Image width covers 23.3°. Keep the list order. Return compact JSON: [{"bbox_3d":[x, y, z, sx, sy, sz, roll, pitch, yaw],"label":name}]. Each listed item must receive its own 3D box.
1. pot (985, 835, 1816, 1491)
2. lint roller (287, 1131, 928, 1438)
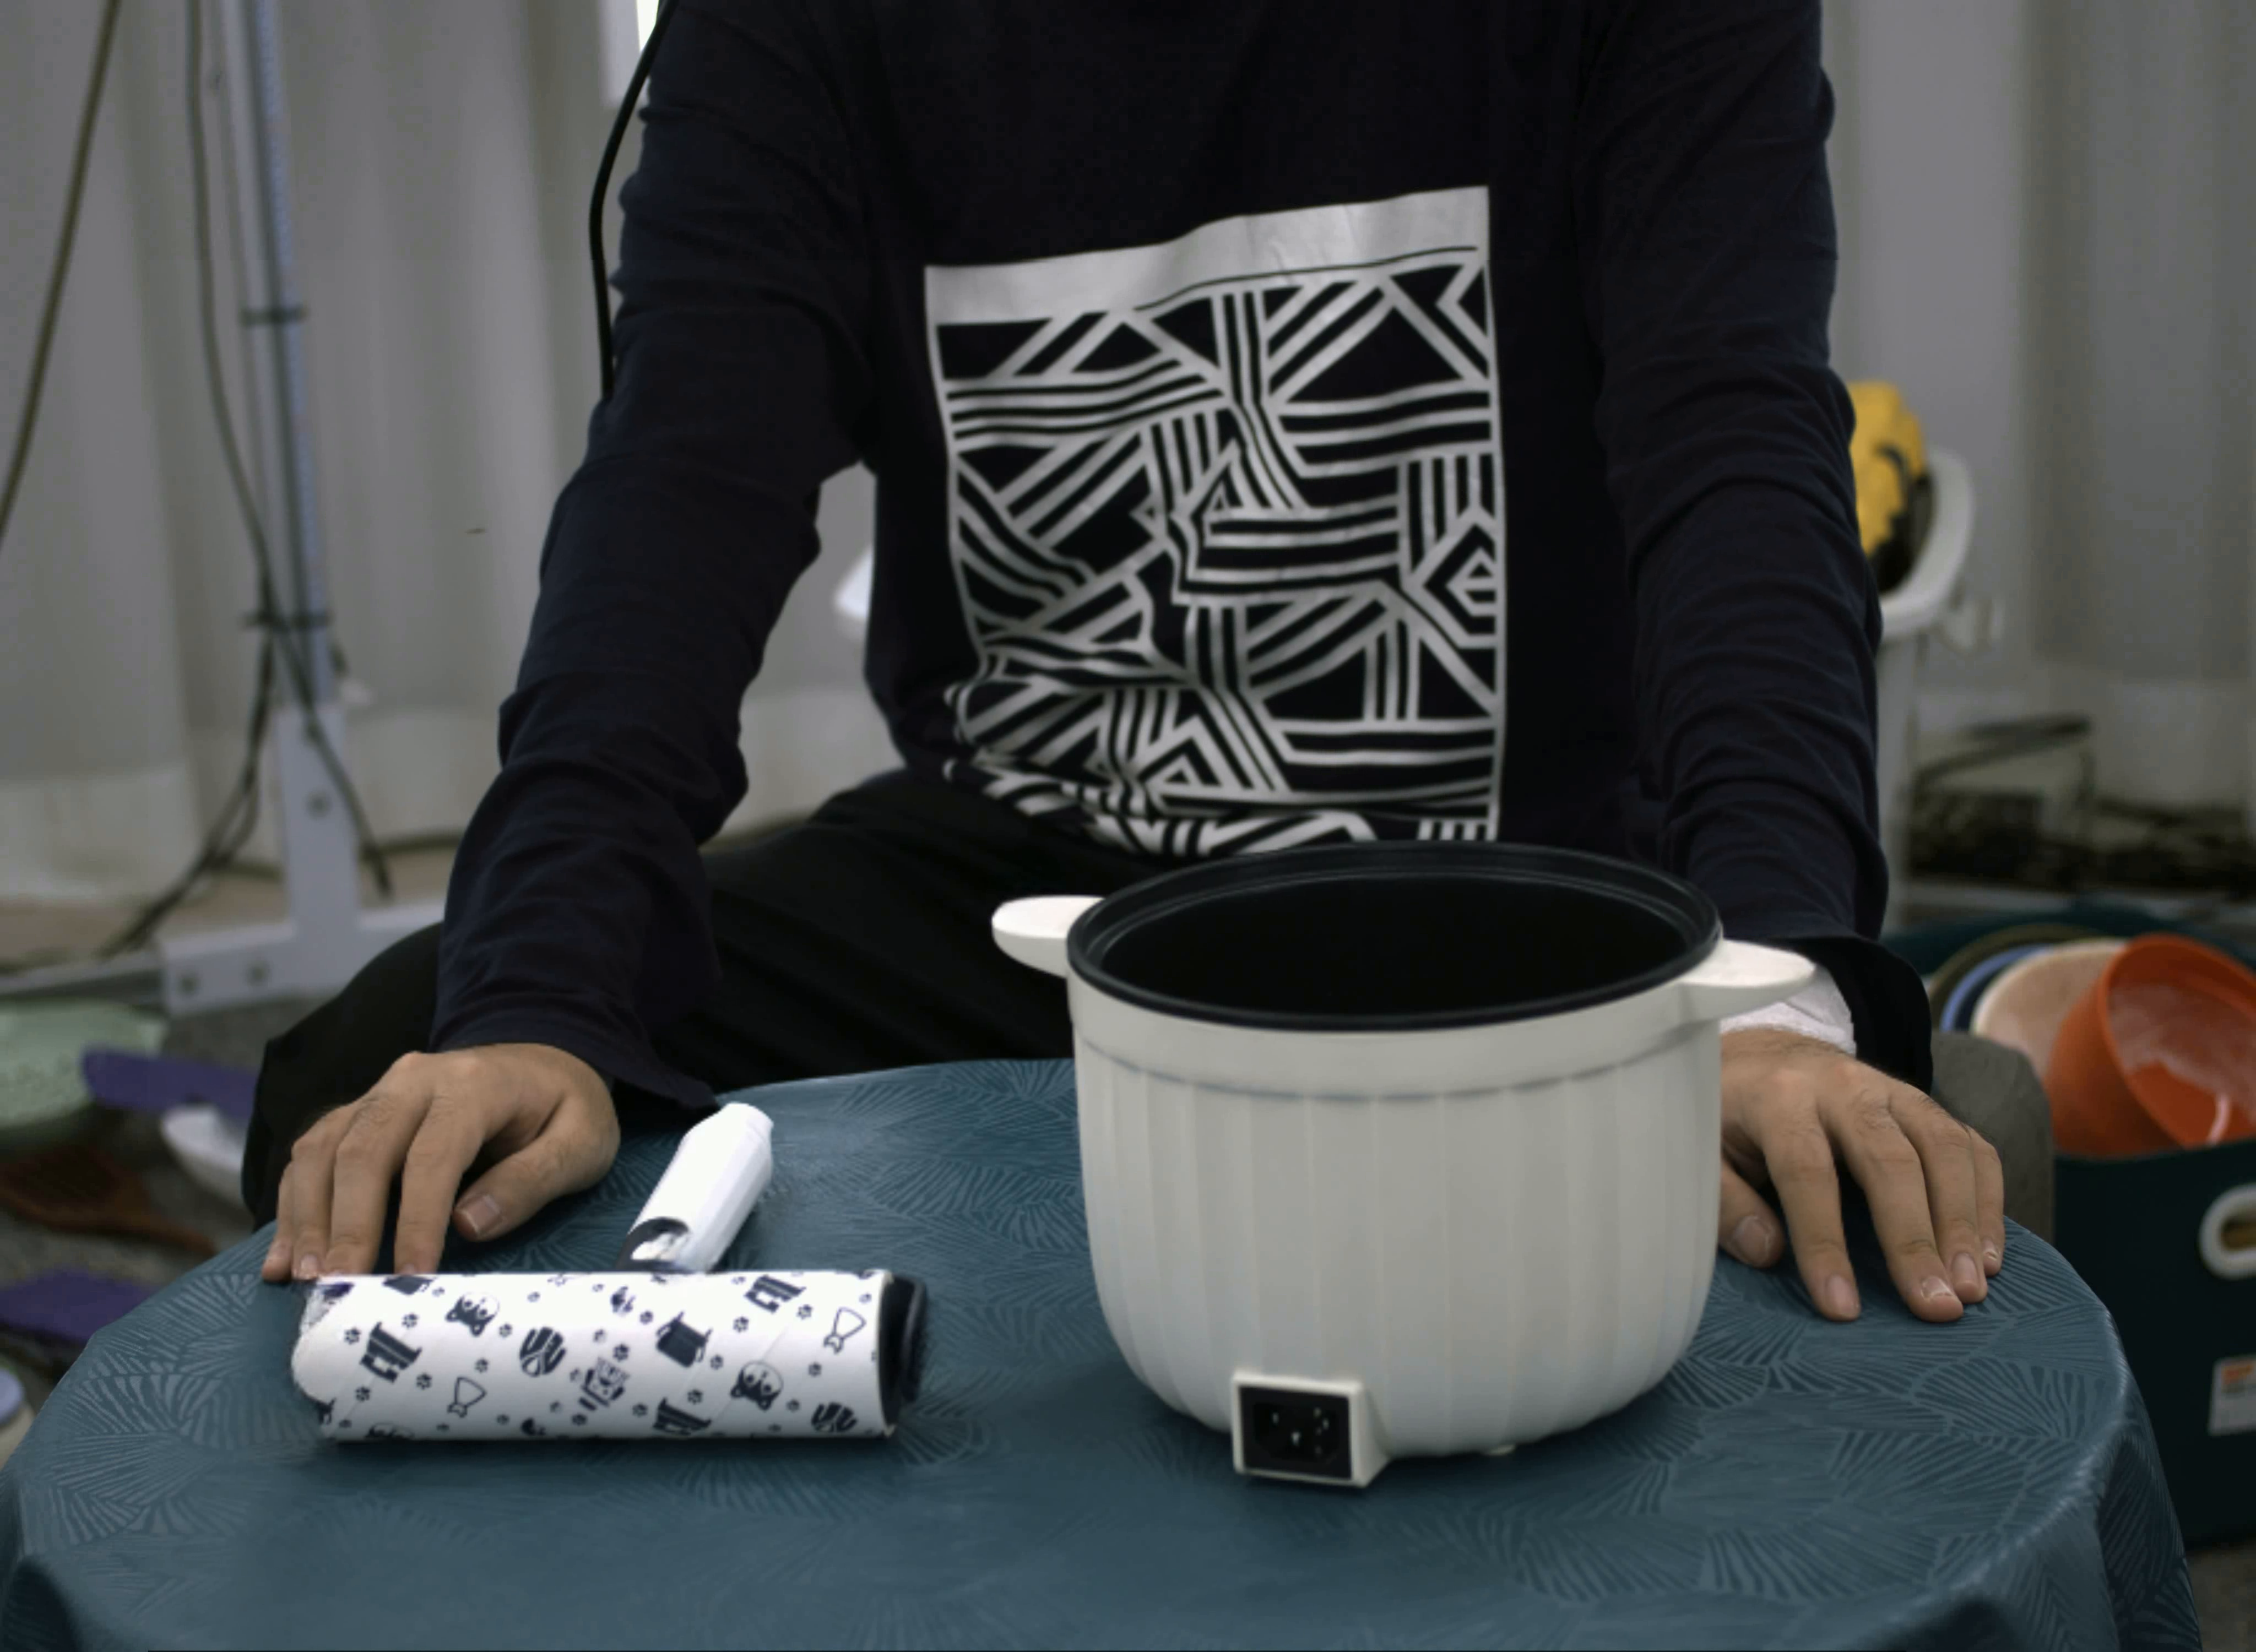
[{"bbox_3d":[0.077,0.090,1.528,0.240,0.142,0.191,4,19,22],"label":"pot"},{"bbox_3d":[-0.137,0.125,1.625,0.176,0.050,0.248,-3,12,6],"label":"lint roller"}]
